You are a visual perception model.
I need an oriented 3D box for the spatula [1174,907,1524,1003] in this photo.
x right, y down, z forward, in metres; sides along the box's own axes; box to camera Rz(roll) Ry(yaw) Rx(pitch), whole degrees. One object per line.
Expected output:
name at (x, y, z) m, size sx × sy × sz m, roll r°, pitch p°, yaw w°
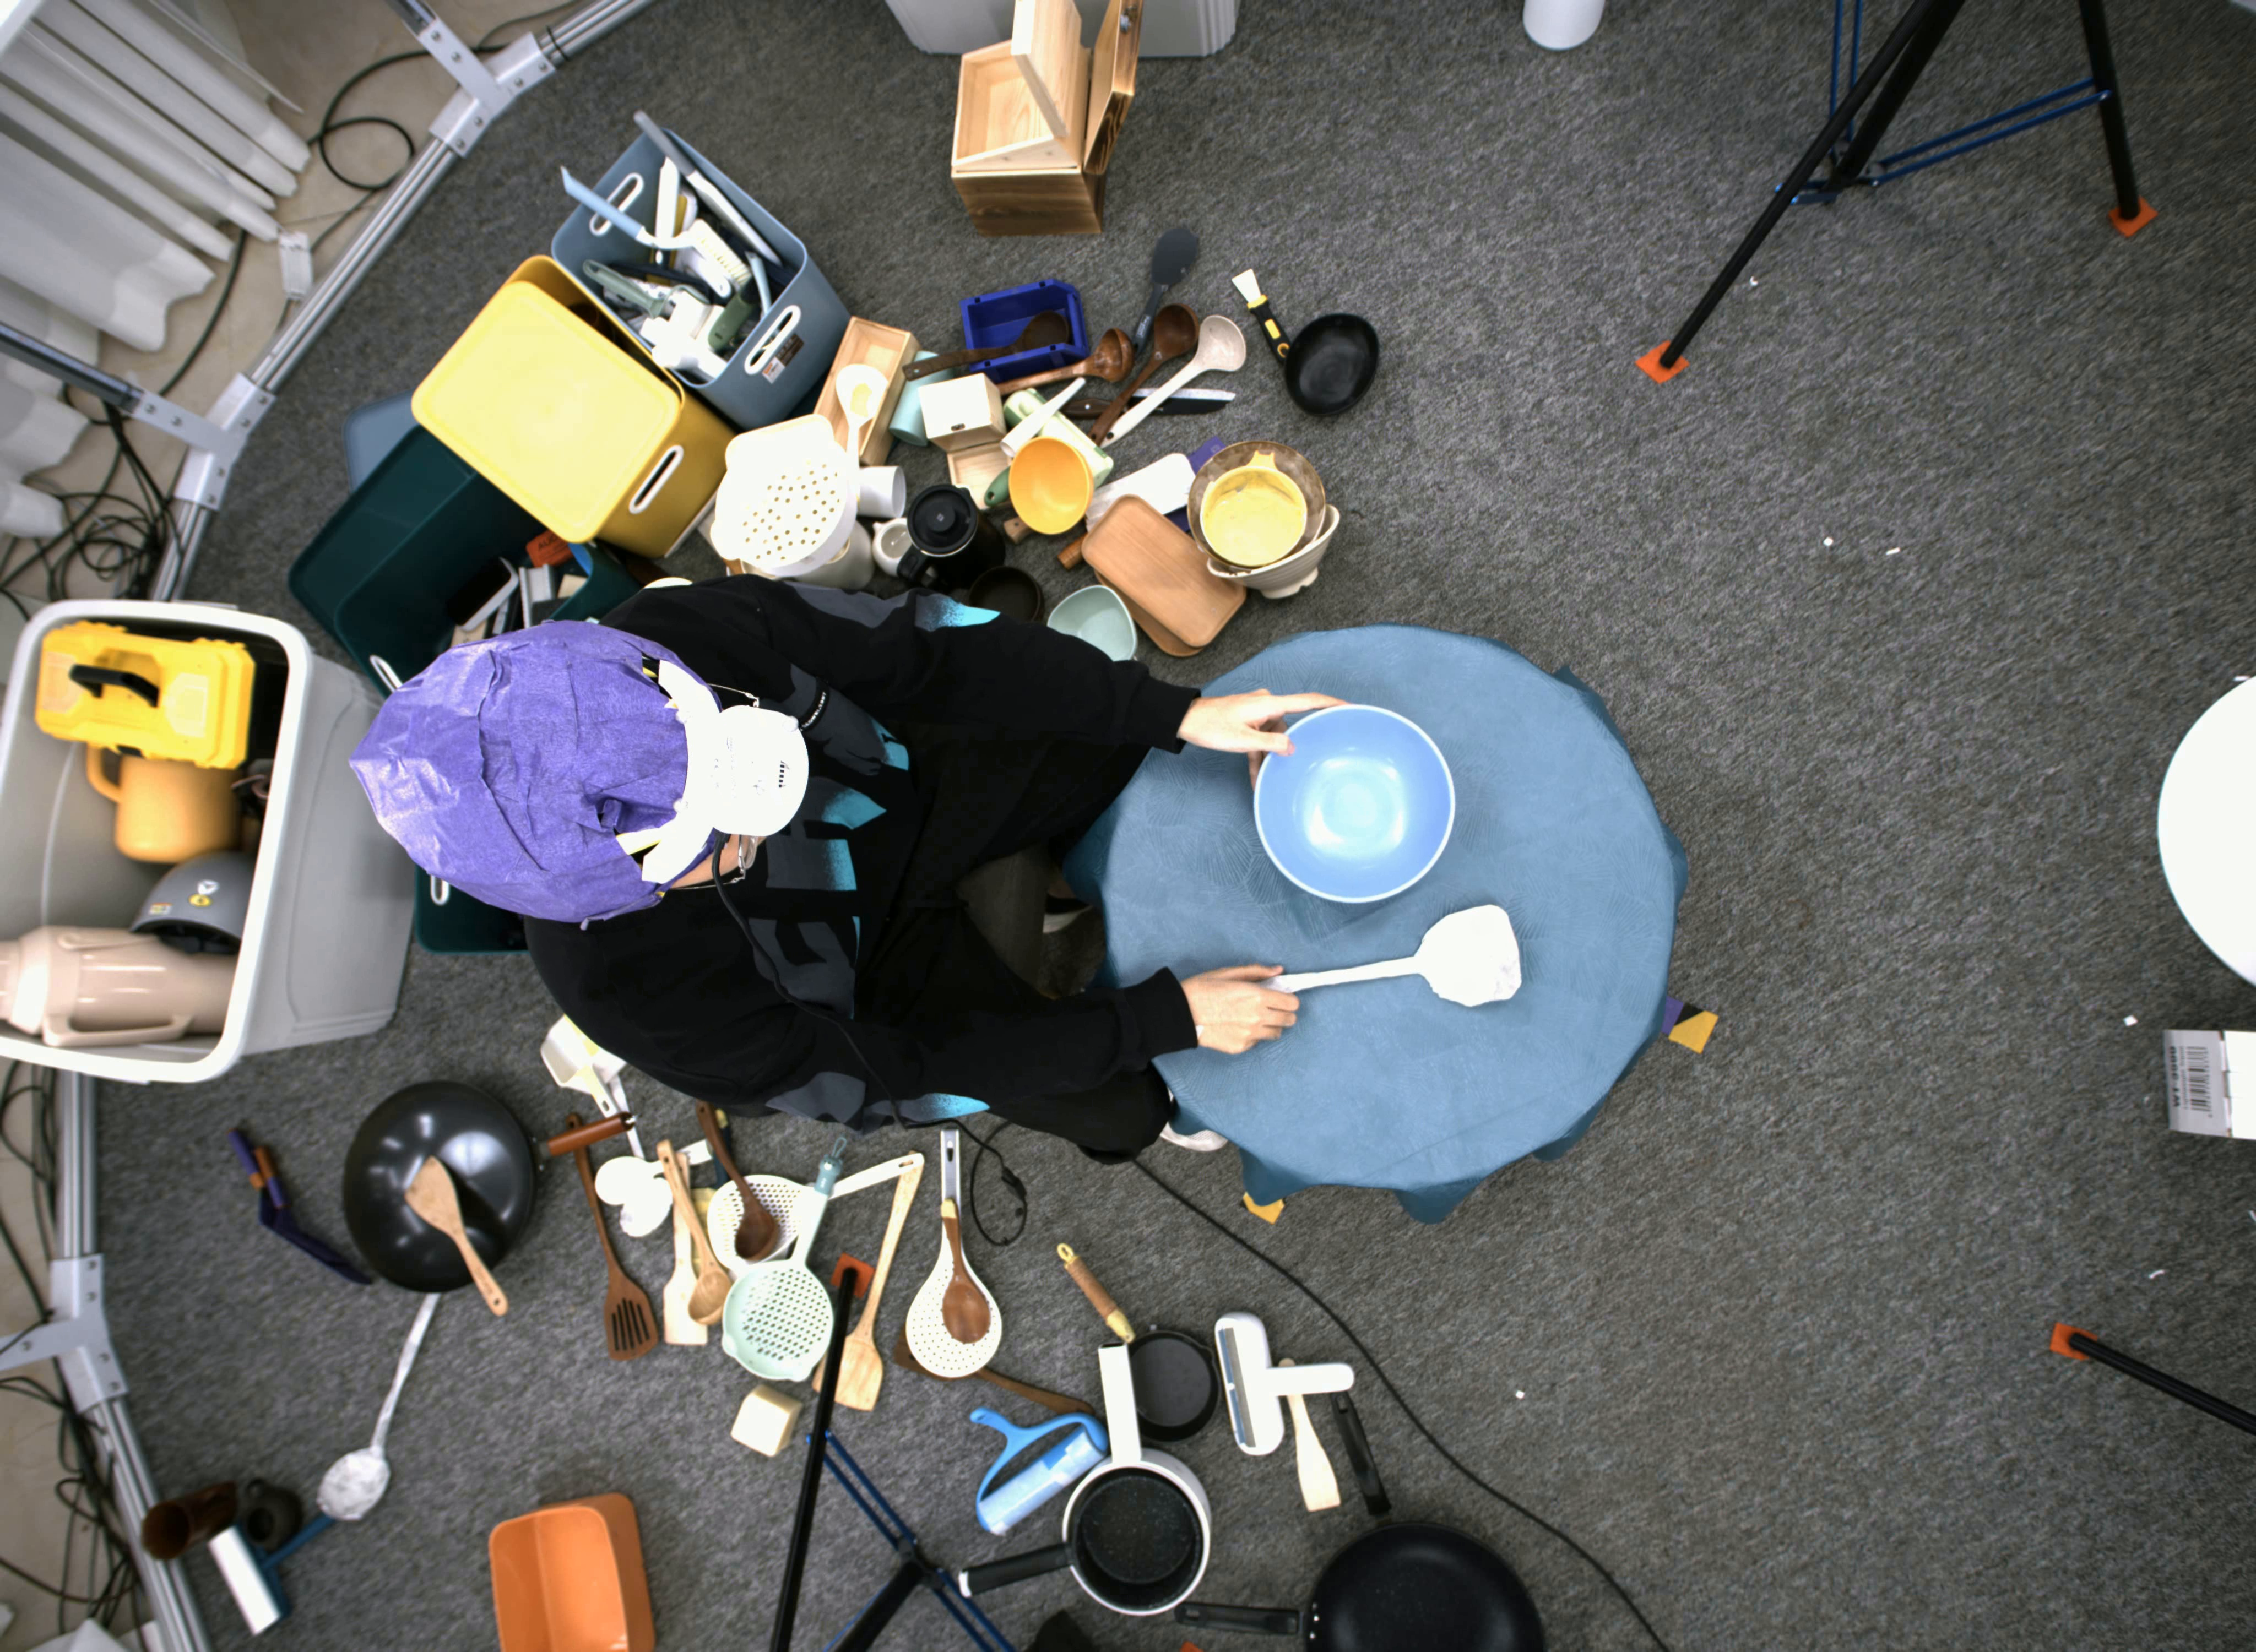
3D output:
spatula at (0.226, 0.154, 1.448) m, size 0.366 × 0.045 × 0.098 m, roll -9°, pitch 86°, yaw 9°

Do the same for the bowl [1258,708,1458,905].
bowl at (0.235, -0.017, 1.410) m, size 0.197 × 0.095 × 0.196 m, roll 0°, pitch 89°, yaw 12°
